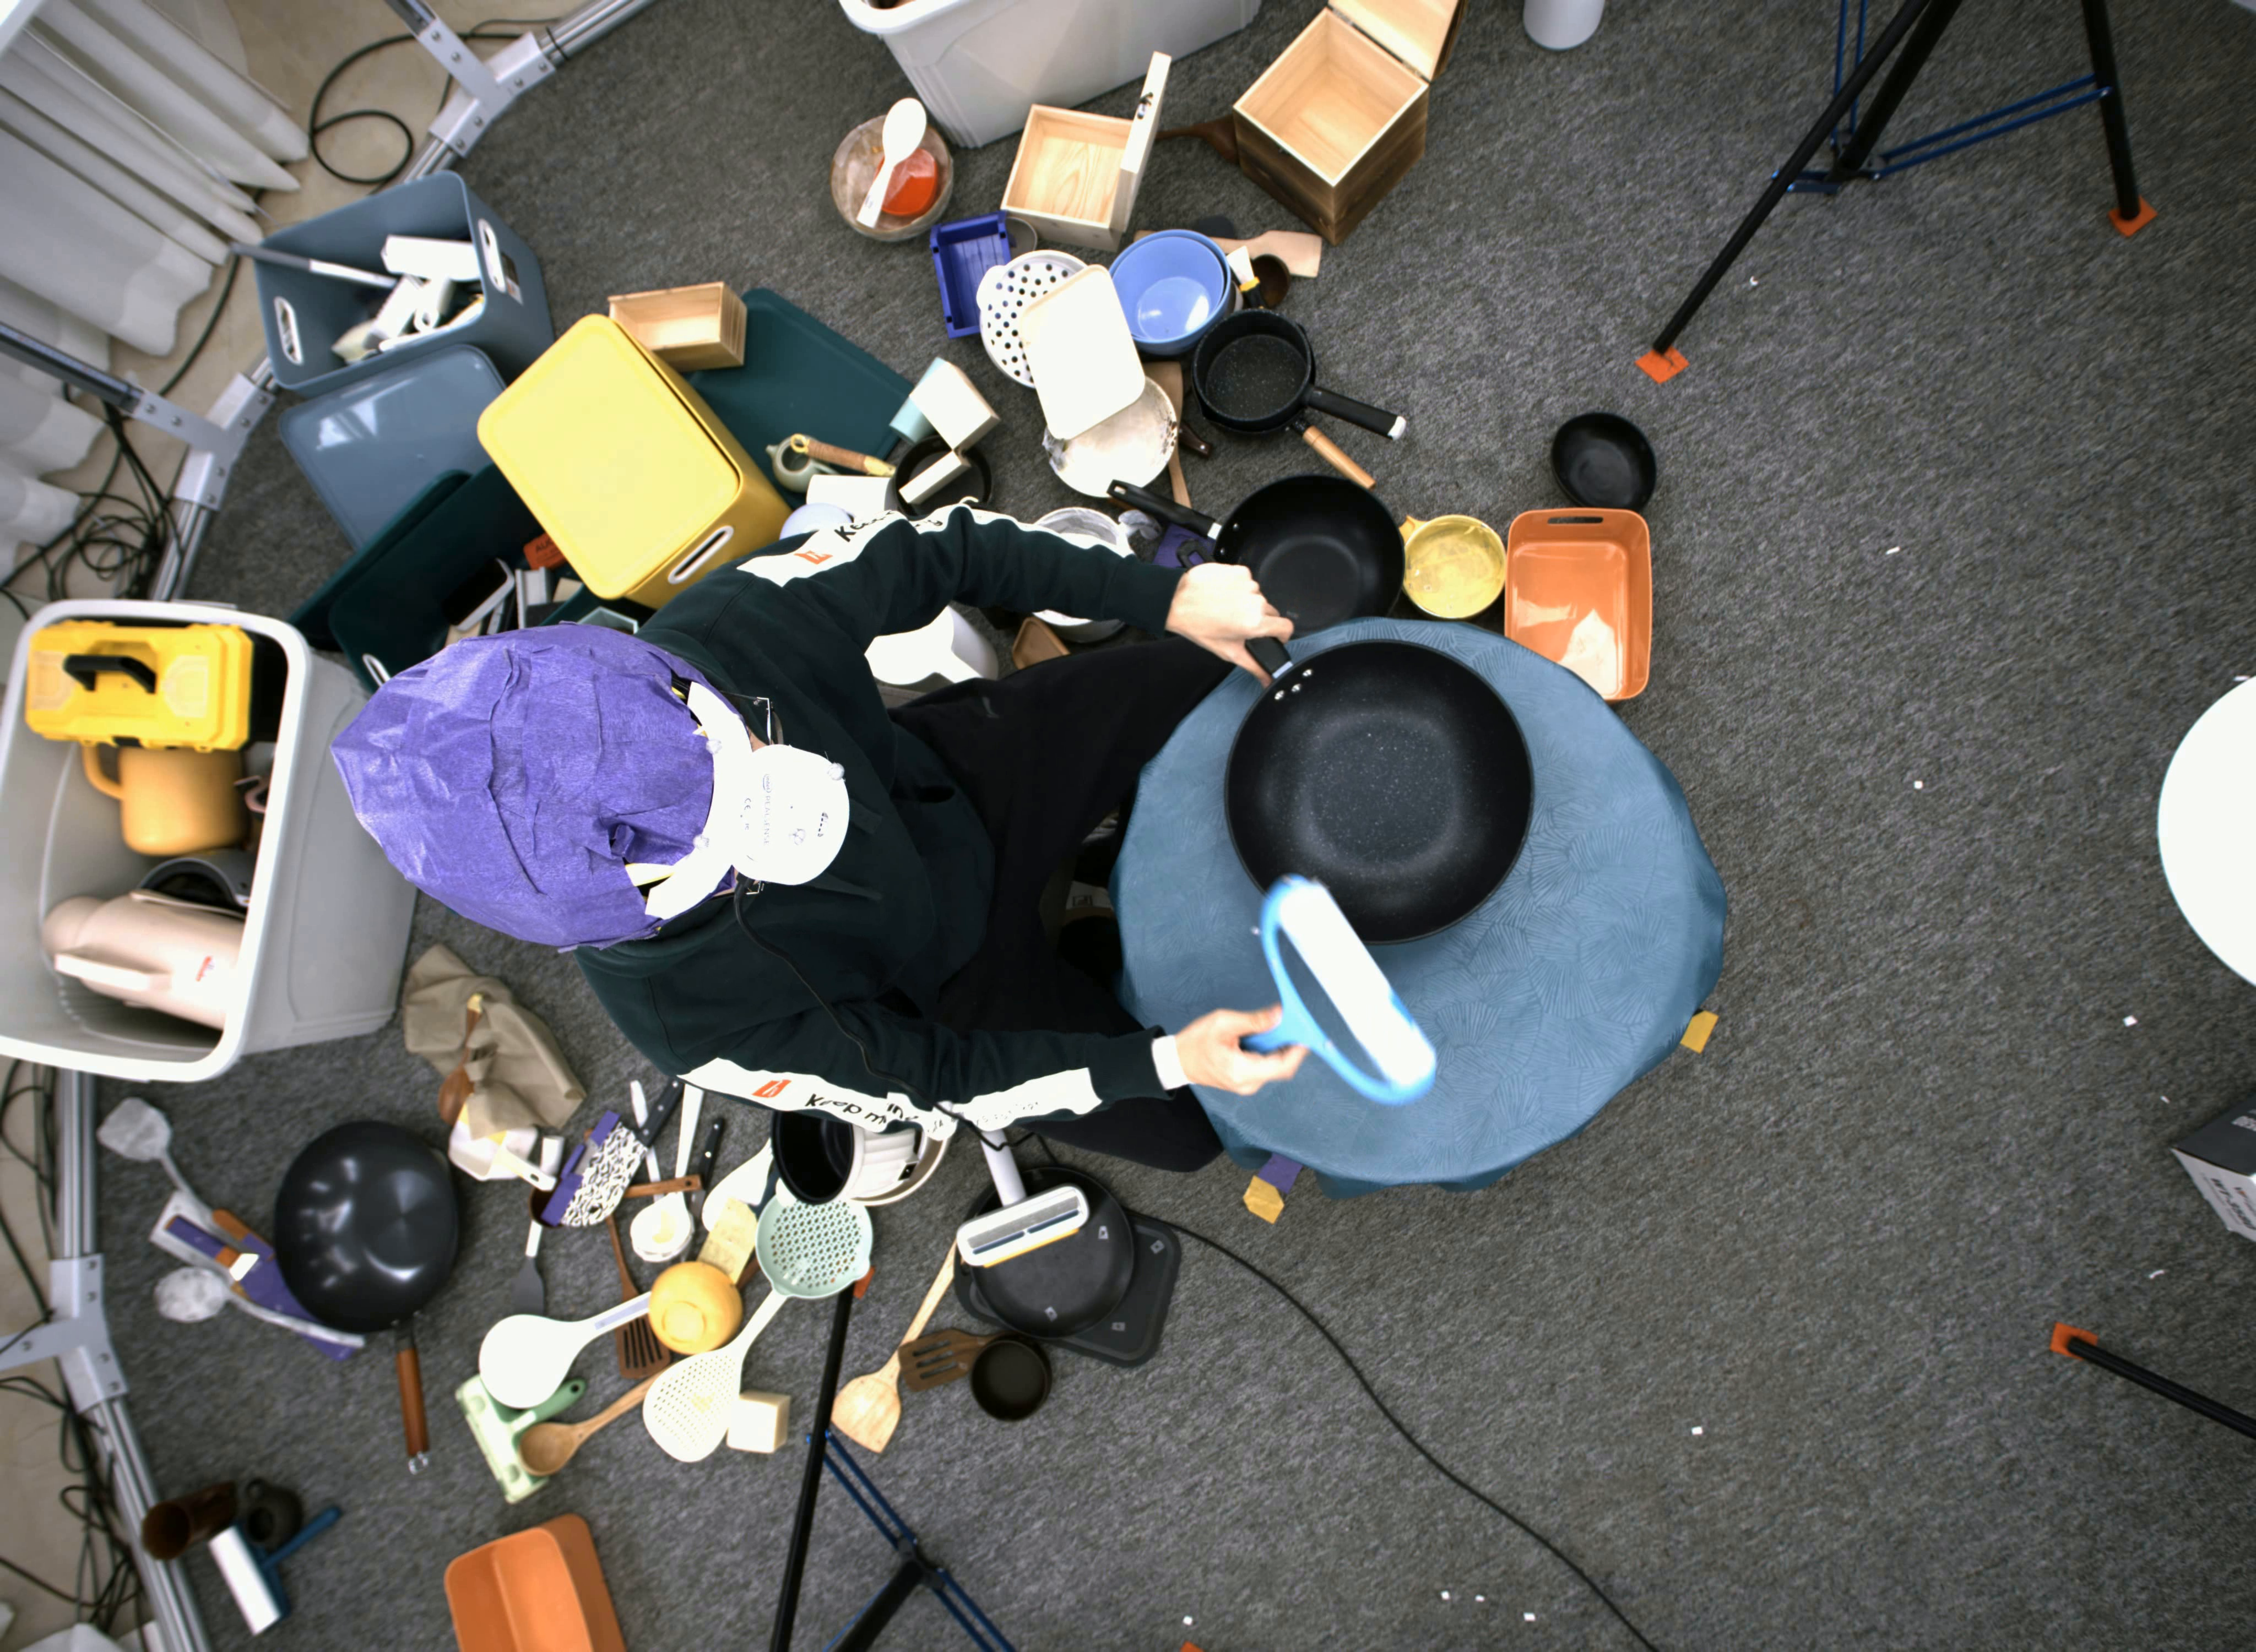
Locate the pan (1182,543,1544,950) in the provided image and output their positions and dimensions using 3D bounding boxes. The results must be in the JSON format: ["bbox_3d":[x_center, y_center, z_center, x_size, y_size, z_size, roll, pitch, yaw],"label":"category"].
[{"bbox_3d":[0.213,-0.096,1.415,0.312,0.111,0.474,-39,81,9],"label":"pan"}]

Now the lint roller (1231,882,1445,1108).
[{"bbox_3d":[0.168,0.183,1.279,0.183,0.067,0.229,-35,93,21],"label":"lint roller"}]
